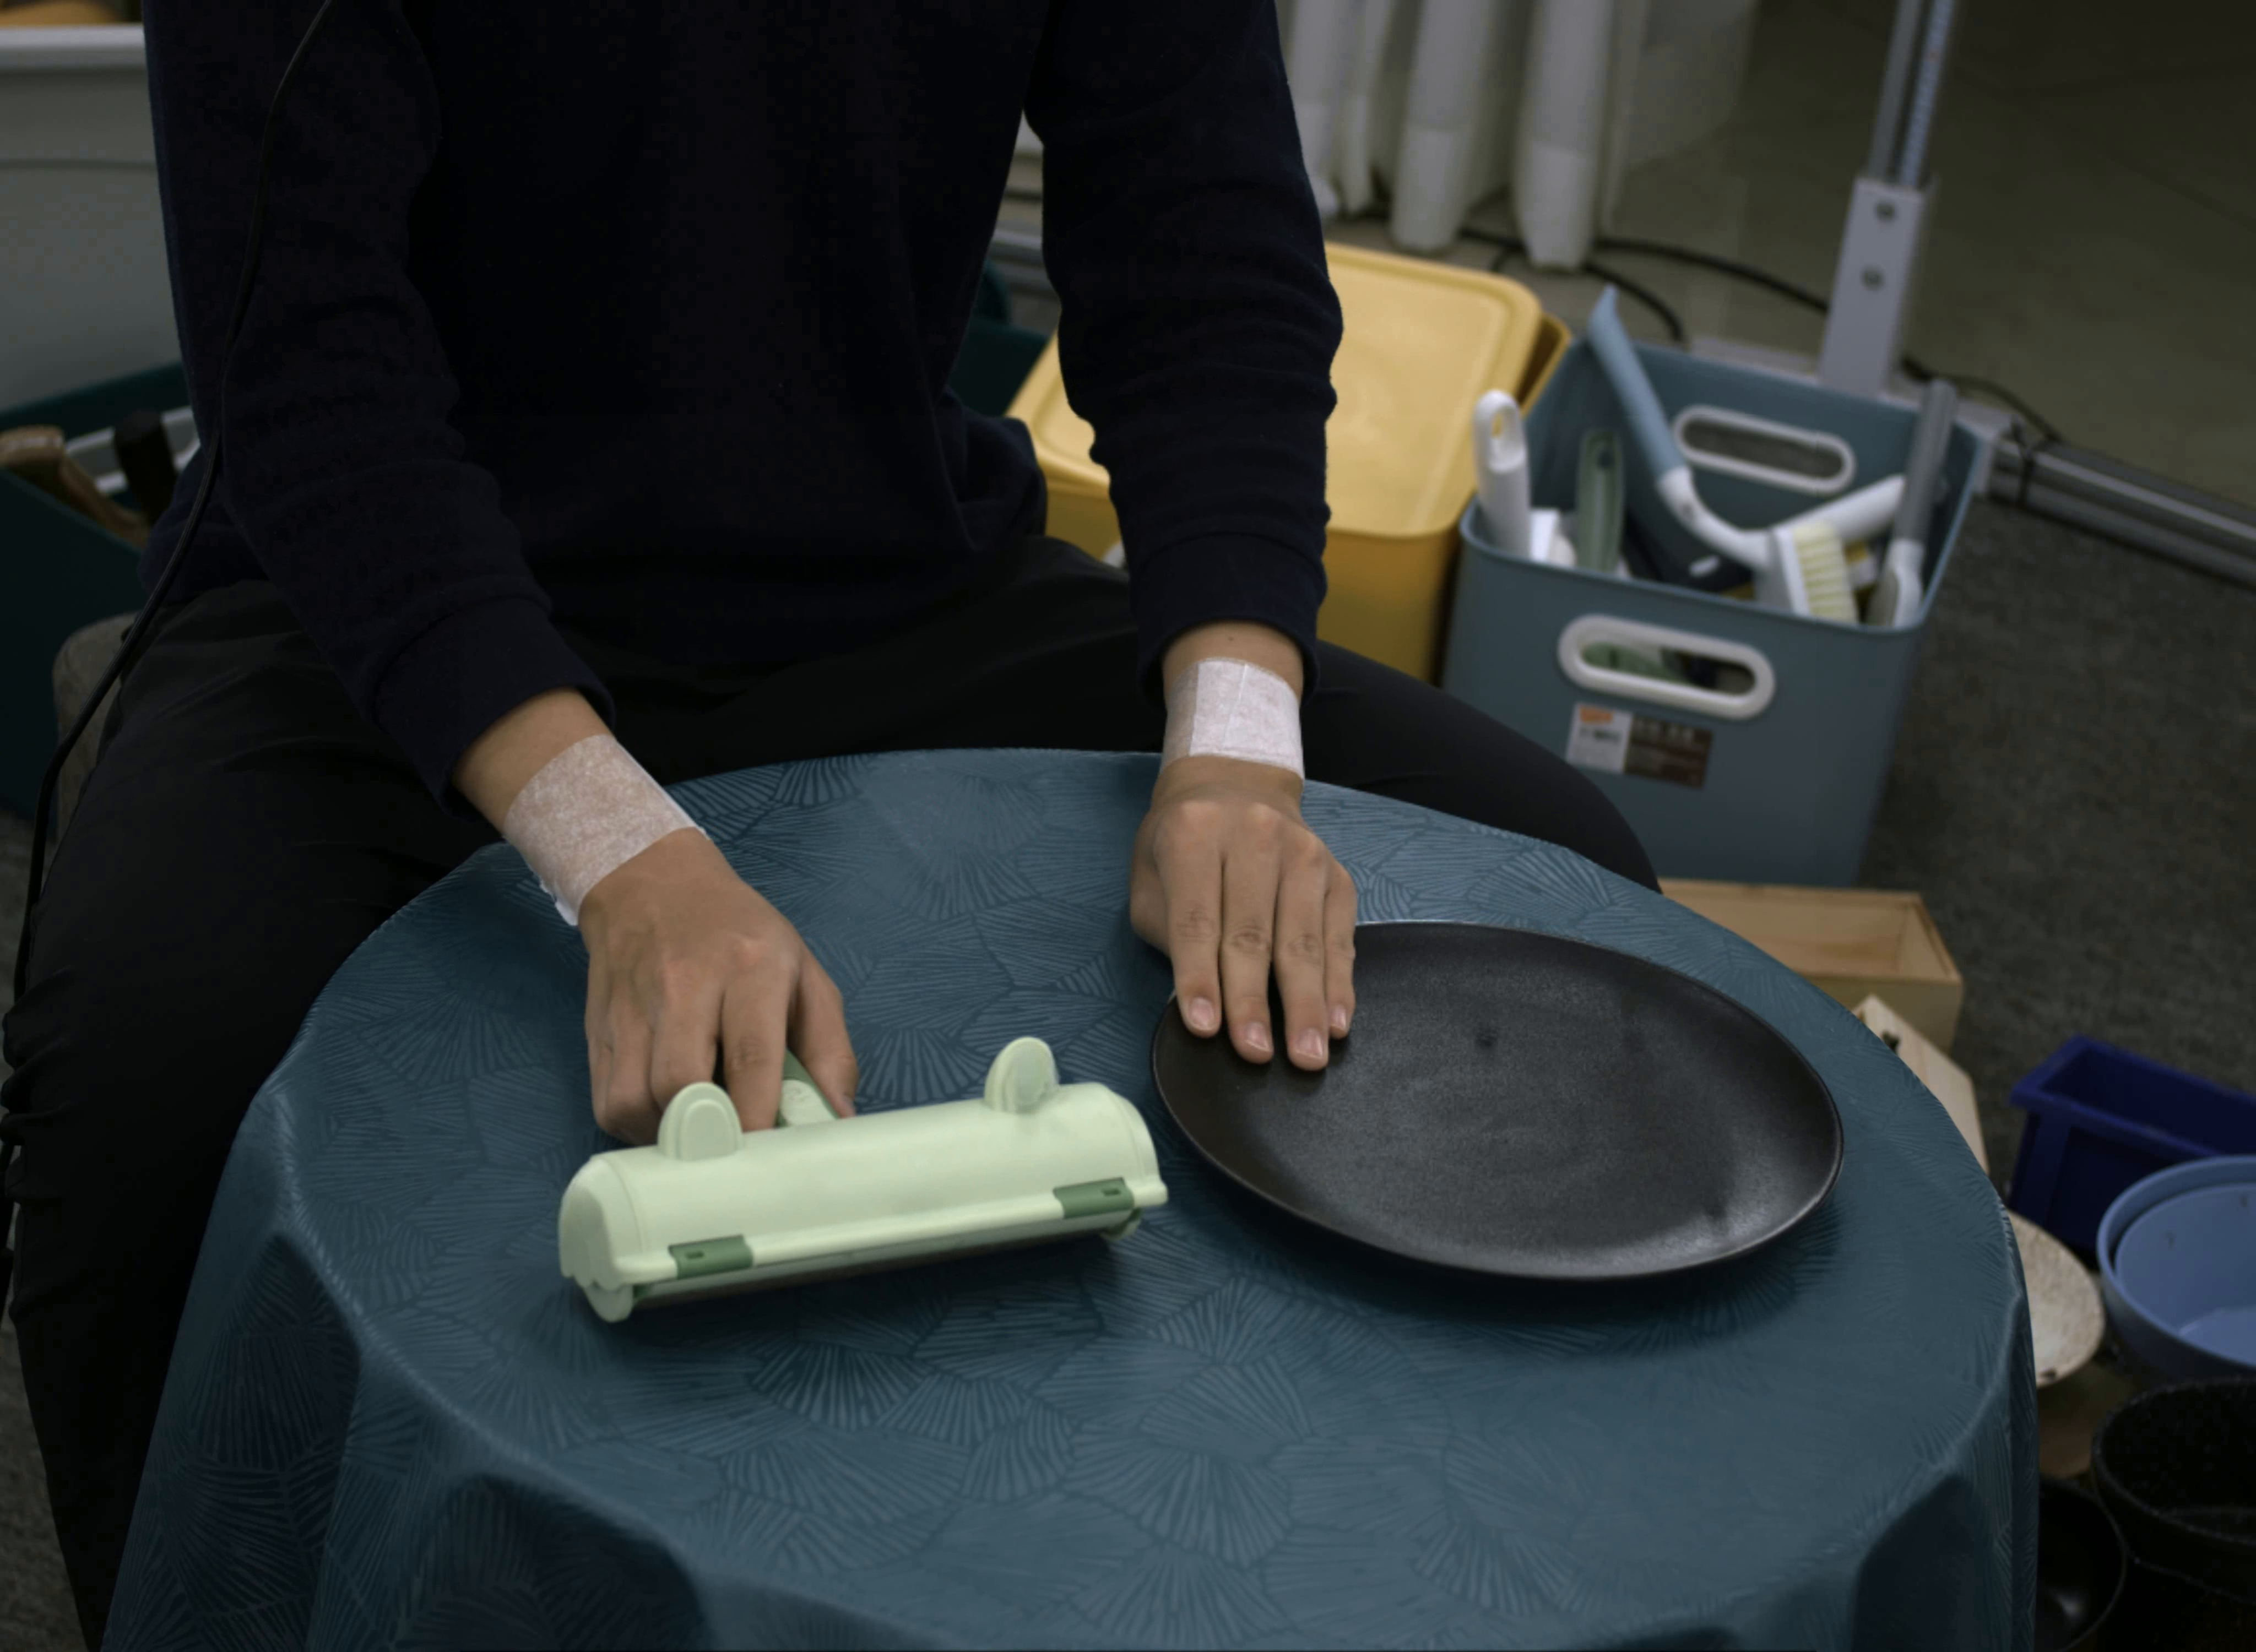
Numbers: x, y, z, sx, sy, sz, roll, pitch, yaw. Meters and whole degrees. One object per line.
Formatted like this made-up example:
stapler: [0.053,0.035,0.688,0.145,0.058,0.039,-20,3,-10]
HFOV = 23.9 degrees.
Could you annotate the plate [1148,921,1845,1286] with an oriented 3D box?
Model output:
plate: [0.127,0.101,1.849,0.243,0.023,0.246,5,27,-3]

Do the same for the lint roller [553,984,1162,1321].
lint roller: [-0.110,0.084,1.761,0.197,0.082,0.185,-7,36,-27]
